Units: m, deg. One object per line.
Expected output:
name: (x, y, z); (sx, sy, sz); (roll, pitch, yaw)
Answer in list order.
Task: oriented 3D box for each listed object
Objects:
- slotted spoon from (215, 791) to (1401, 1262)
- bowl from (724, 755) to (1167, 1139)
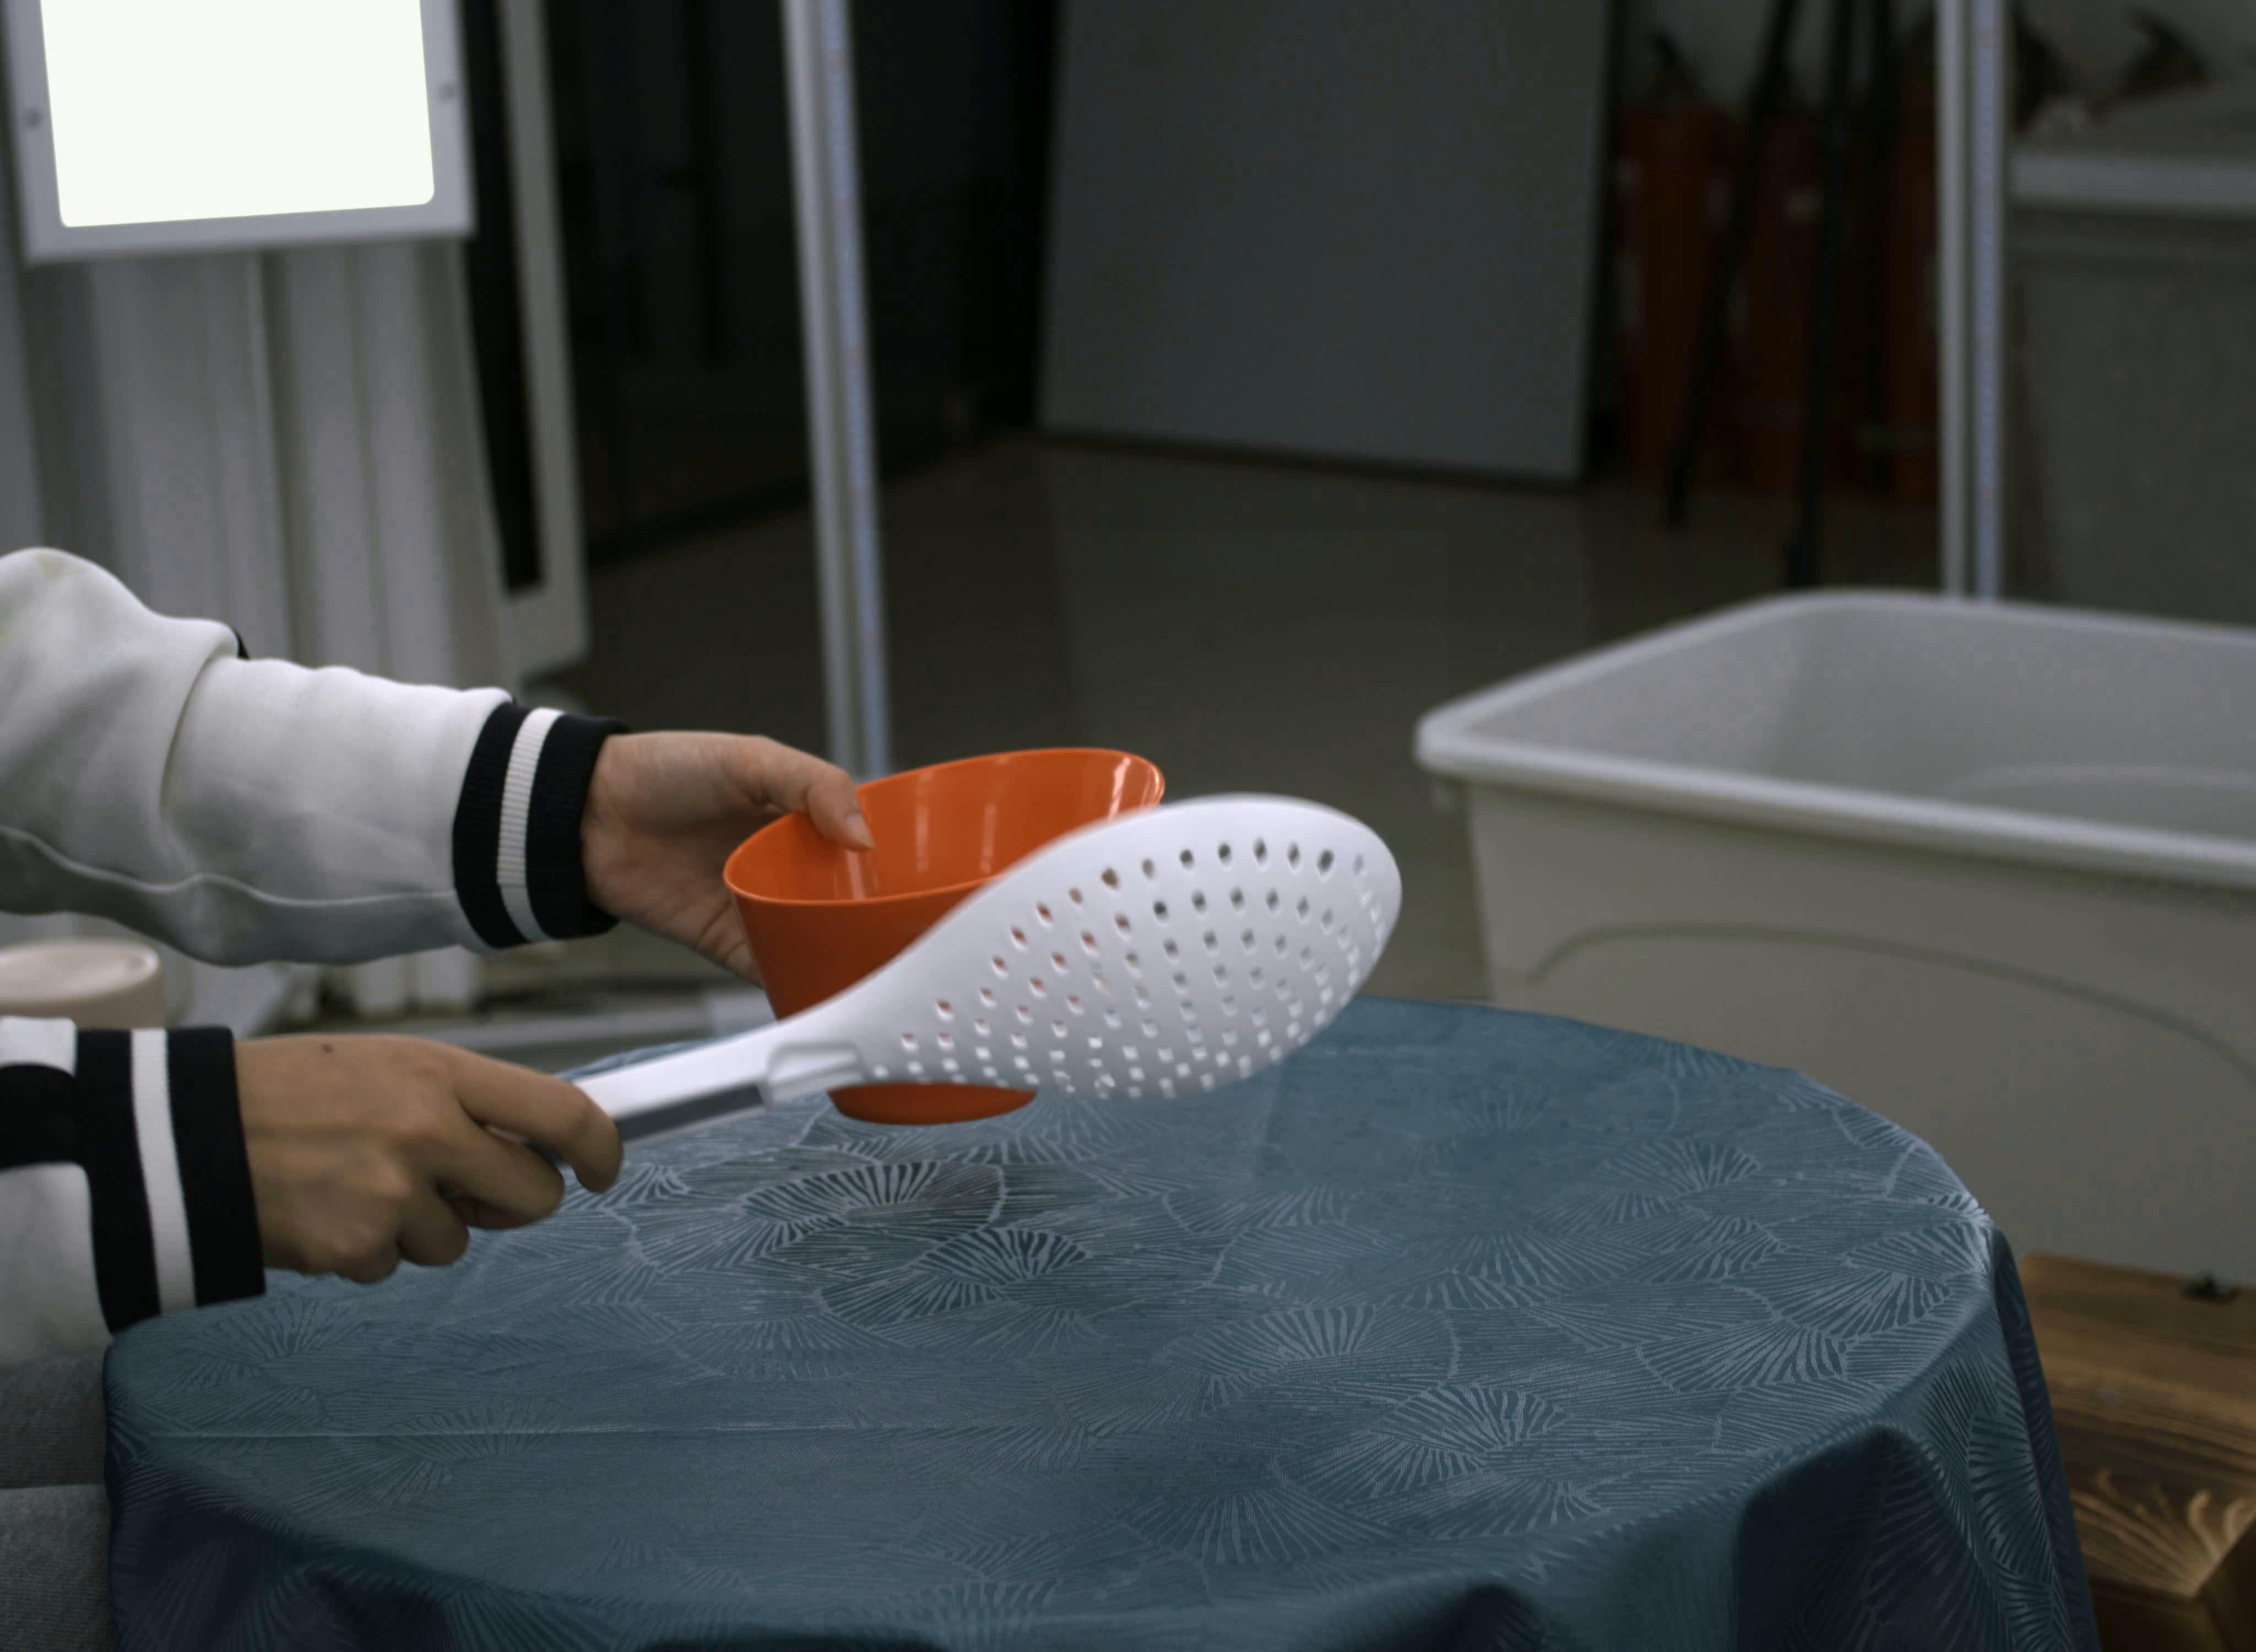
slotted spoon: (-0.089, 0.066, 1.527); (0.346, 0.135, 0.046); (-12, 57, 5)
bowl: (-0.056, 0.042, 1.764); (0.146, 0.106, 0.148); (-4, 11, 0)
